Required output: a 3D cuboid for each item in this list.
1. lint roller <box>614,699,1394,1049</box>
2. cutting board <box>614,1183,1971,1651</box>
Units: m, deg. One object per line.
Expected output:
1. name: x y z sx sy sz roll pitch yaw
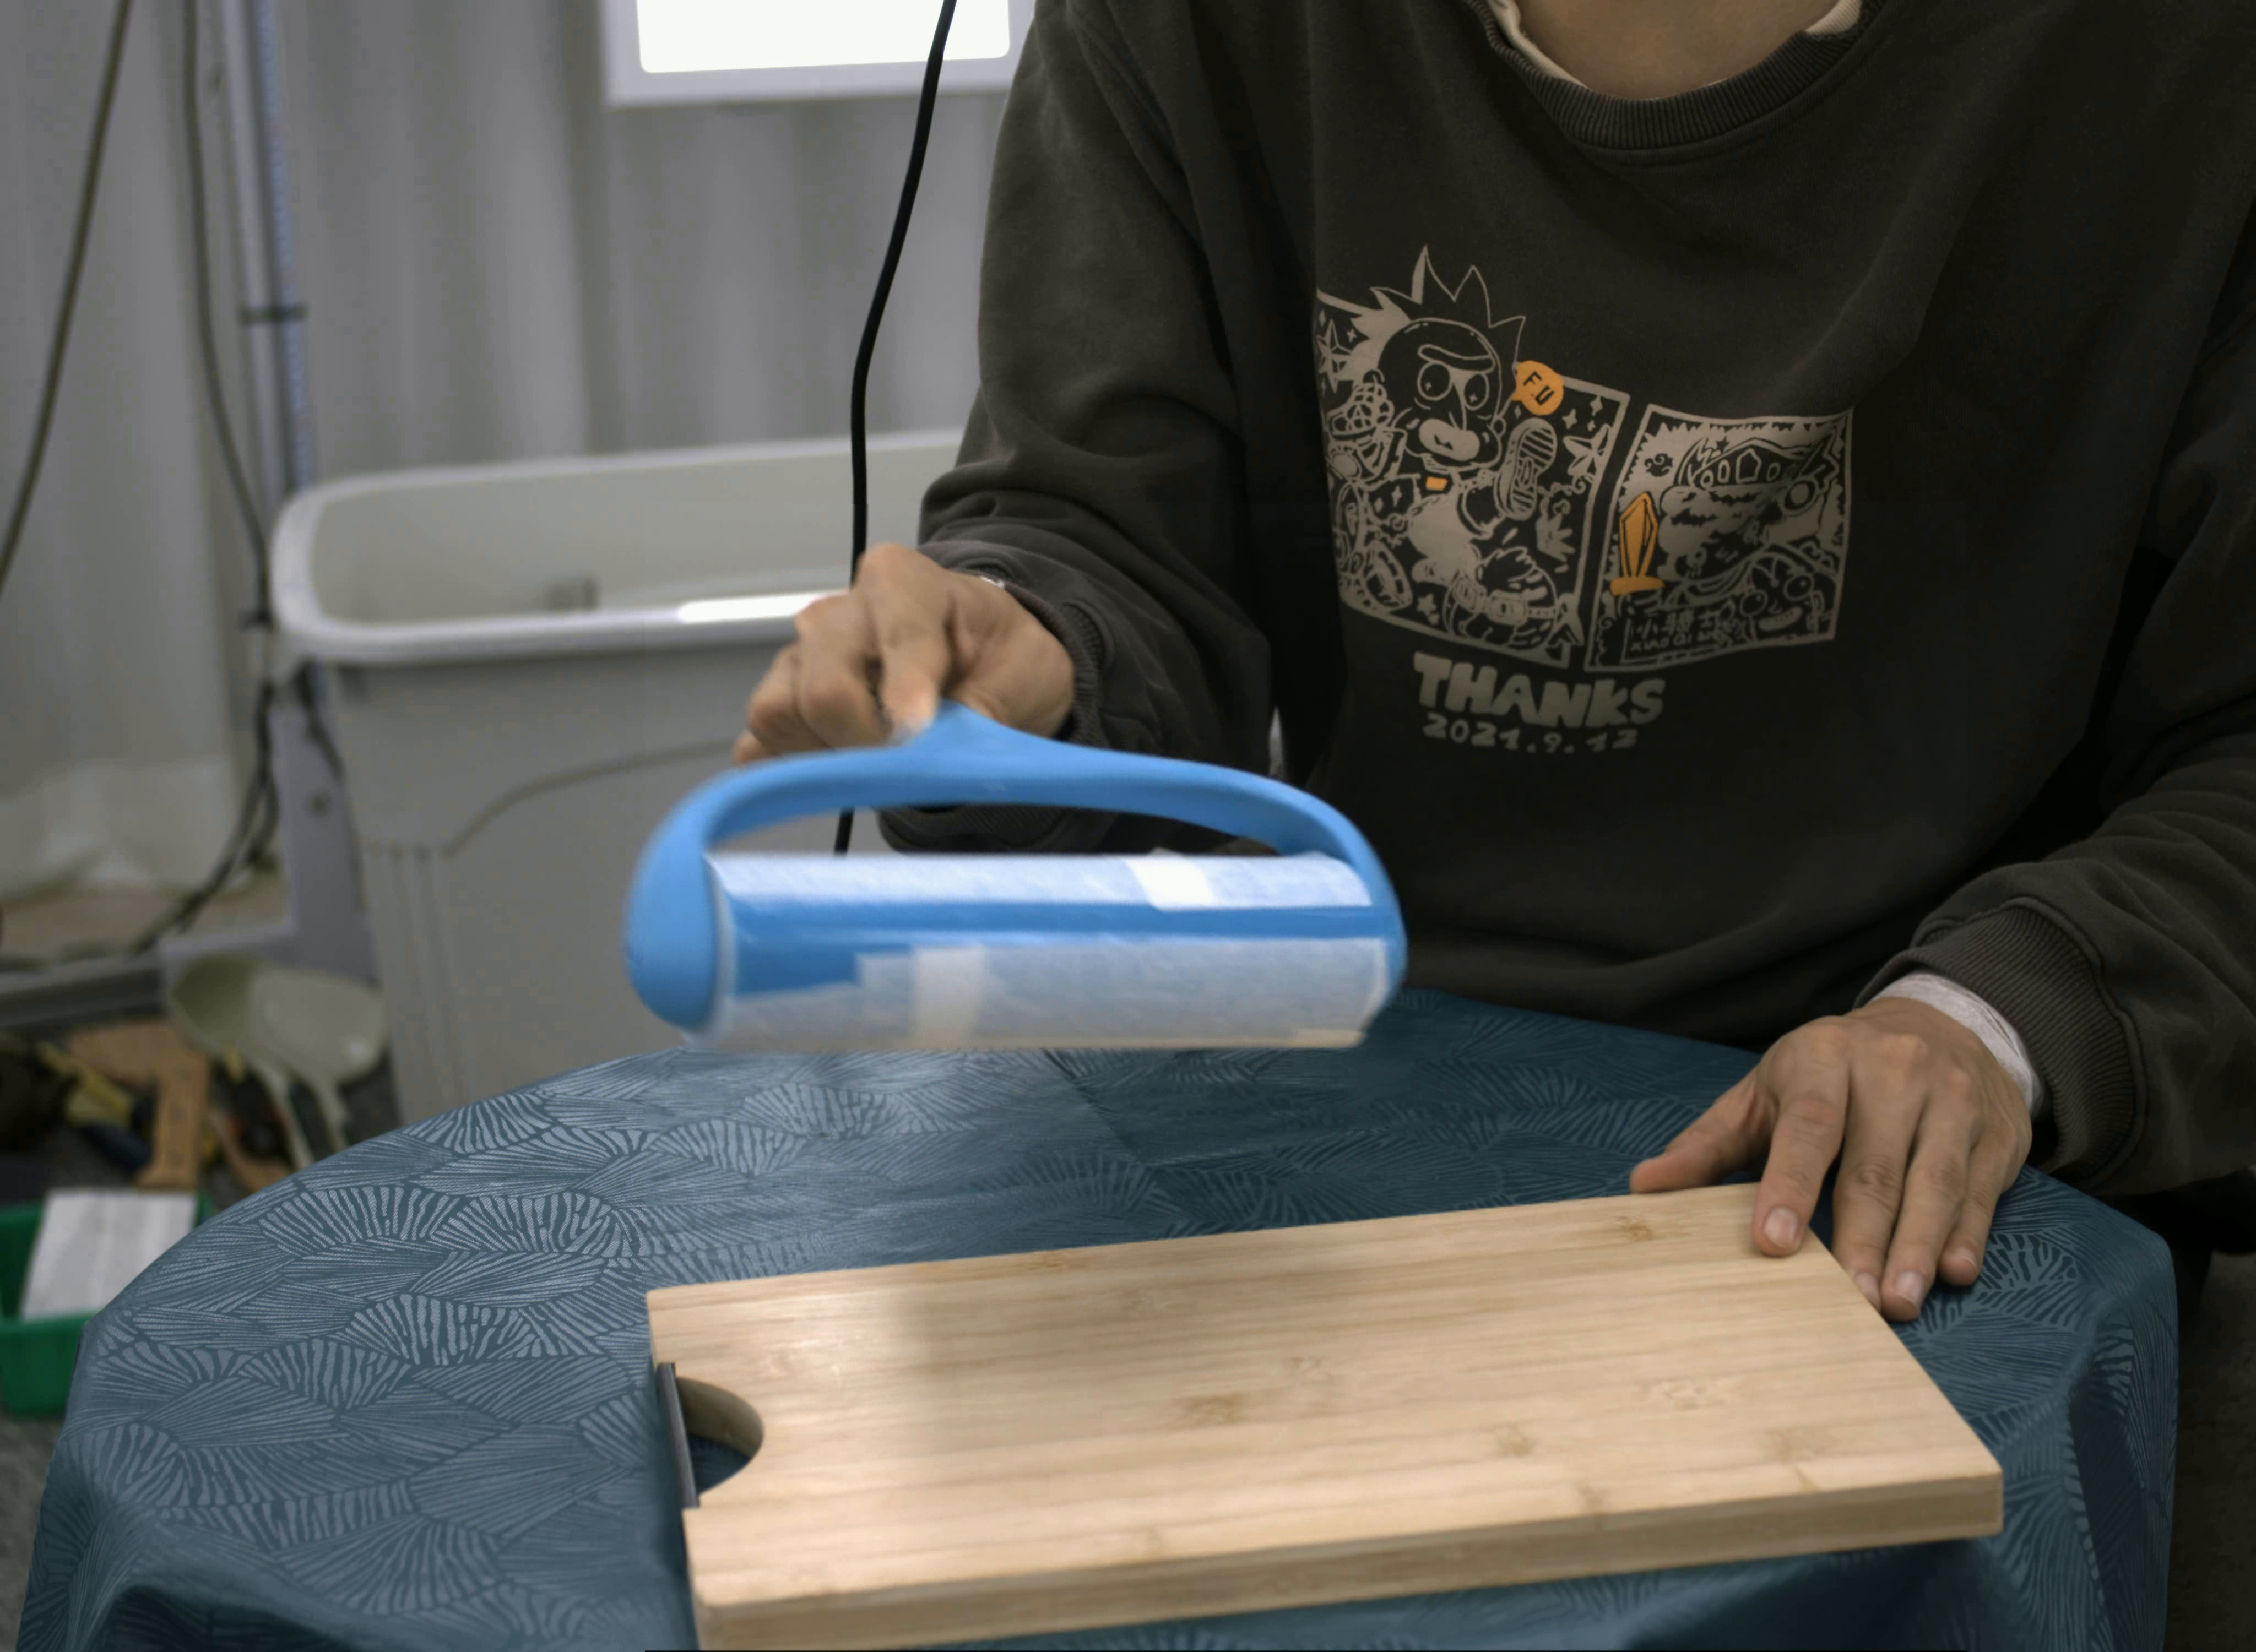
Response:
1. lint roller: -0.052 0.000 1.551 0.227 0.067 0.183 0 33 -24
2. cutting board: 0.037 0.162 1.510 0.347 0.023 0.252 -5 15 -8
